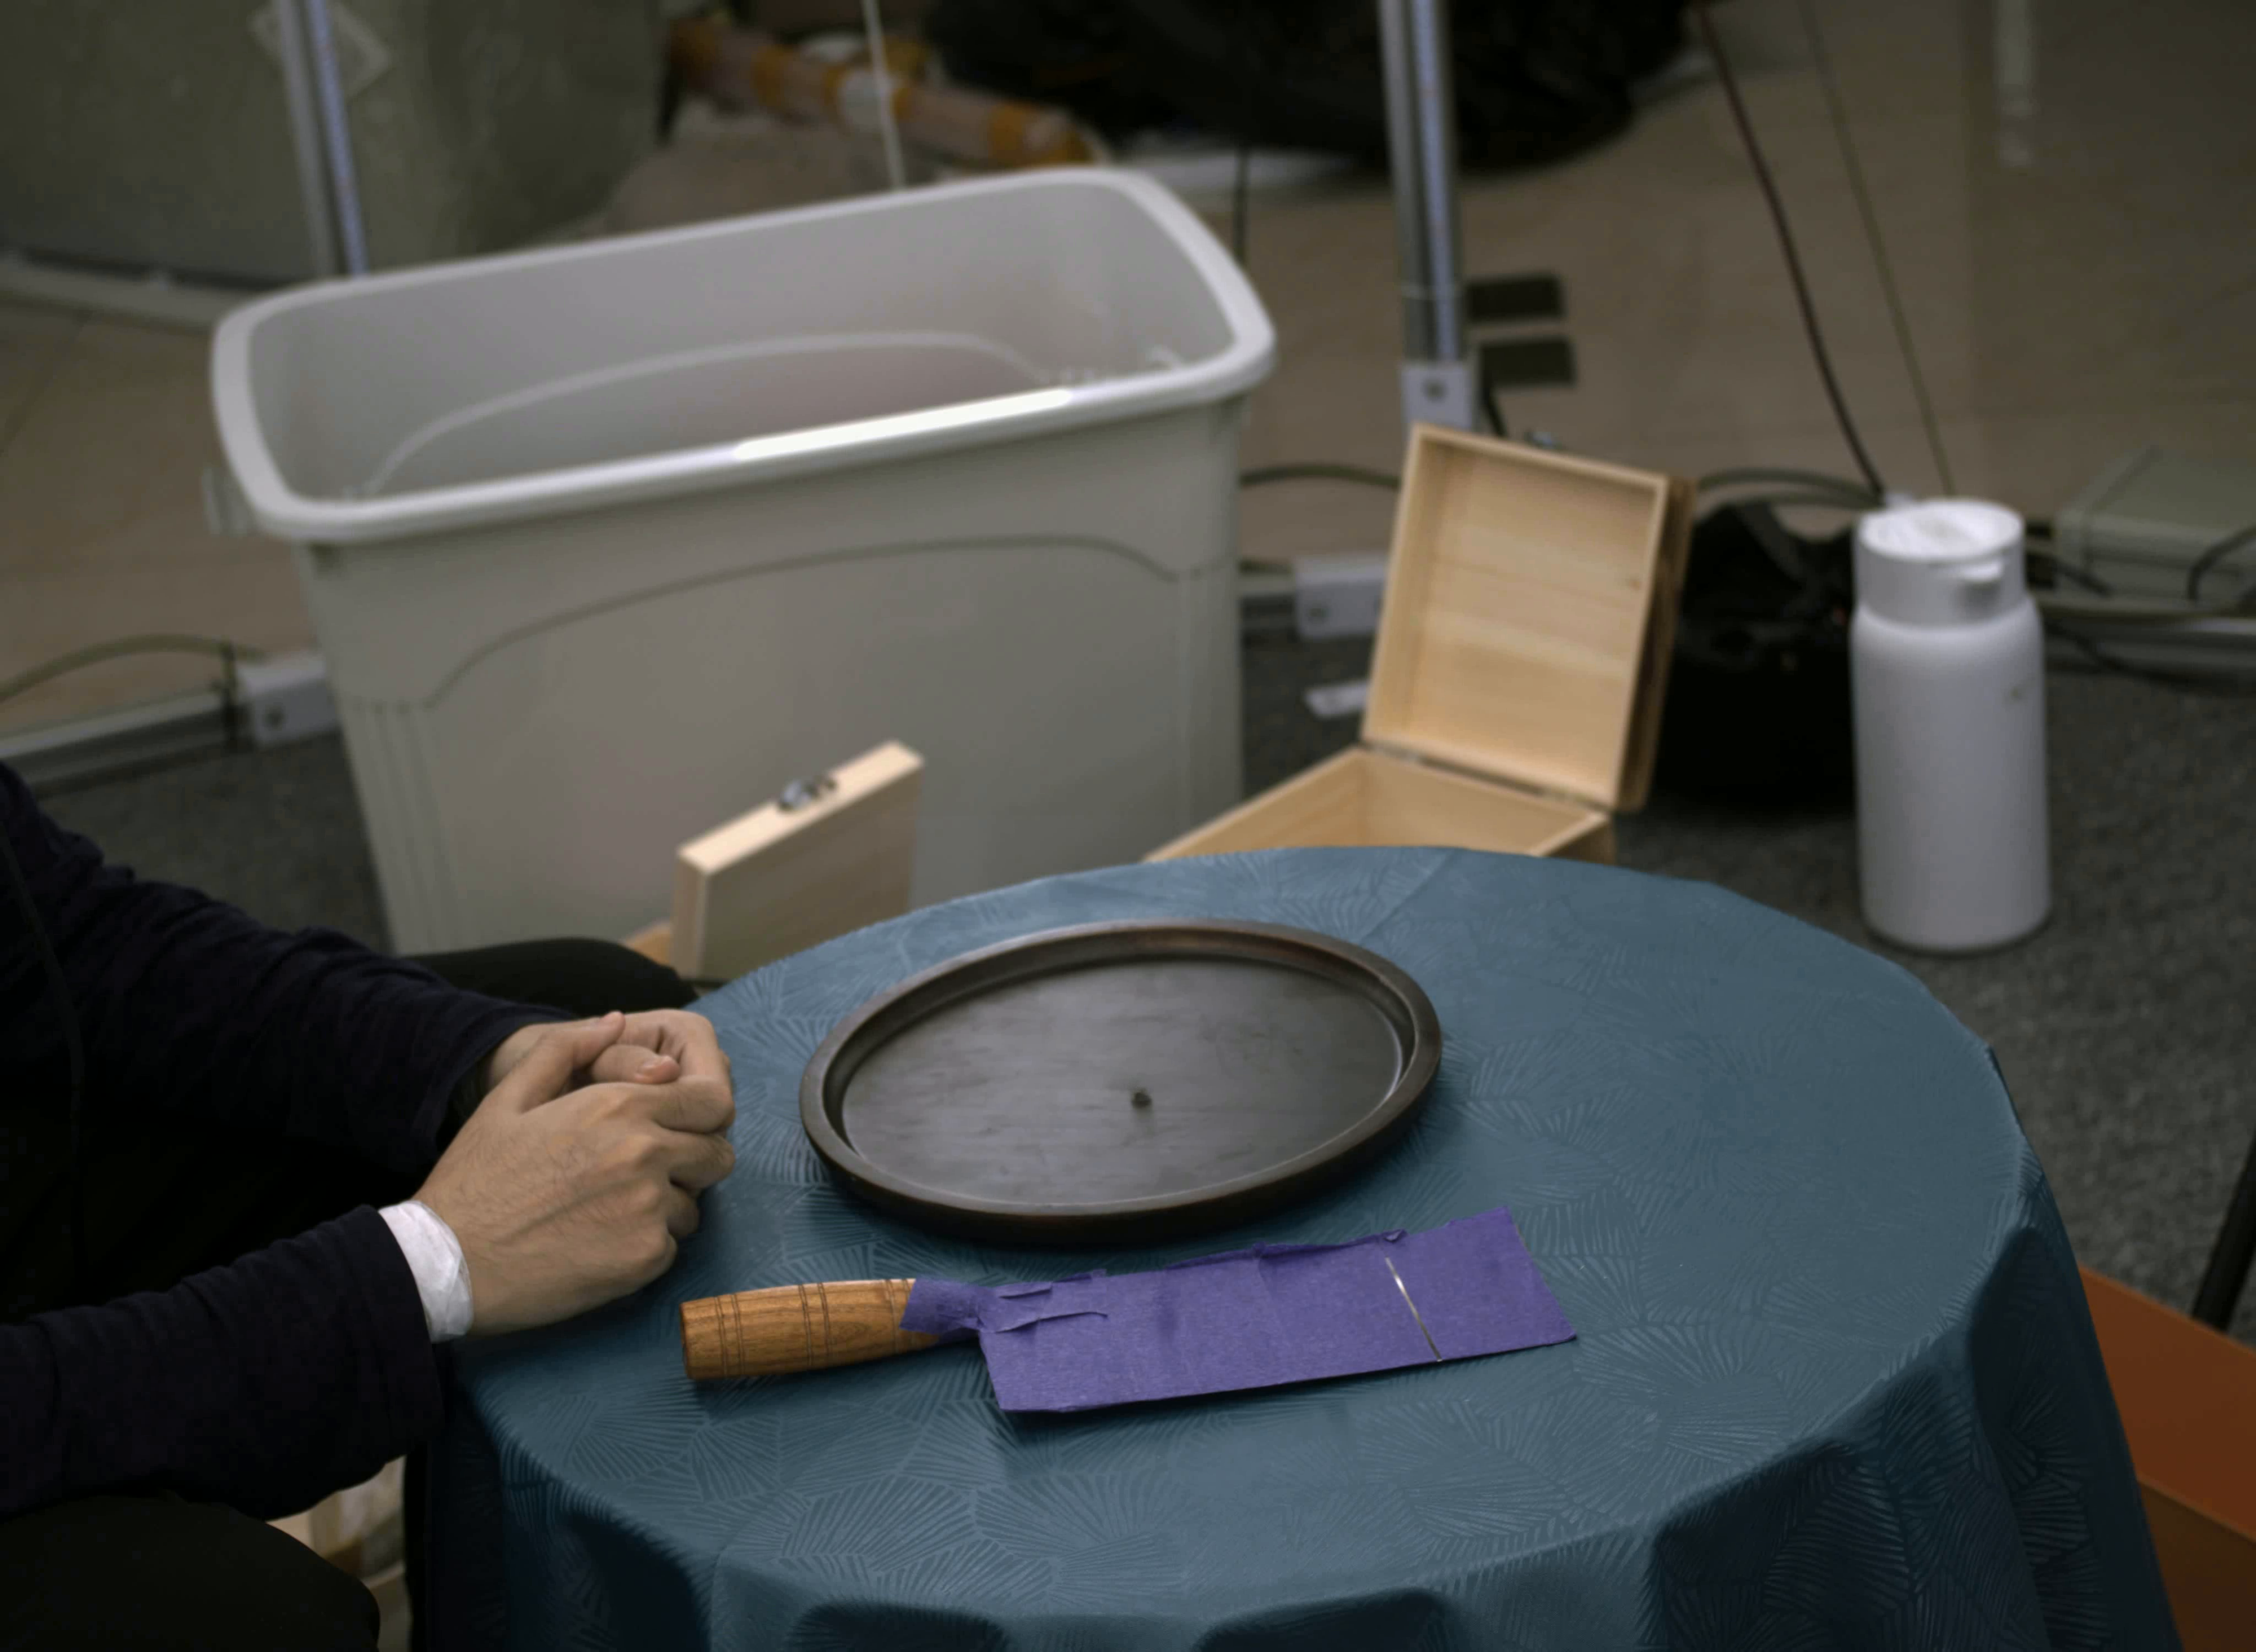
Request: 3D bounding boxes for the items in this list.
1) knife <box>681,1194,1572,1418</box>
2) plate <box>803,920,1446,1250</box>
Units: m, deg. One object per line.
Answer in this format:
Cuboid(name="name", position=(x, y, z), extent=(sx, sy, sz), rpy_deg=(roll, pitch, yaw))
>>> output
Cuboid(name="knife", position=(-0.001, 0.178, 2.035), extent=(0.314, 0.033, 0.102), rpy_deg=(-9, 25, -7))
Cuboid(name="plate", position=(-0.001, 0.099, 2.209), extent=(0.254, 0.029, 0.251), rpy_deg=(-5, 25, 2))
